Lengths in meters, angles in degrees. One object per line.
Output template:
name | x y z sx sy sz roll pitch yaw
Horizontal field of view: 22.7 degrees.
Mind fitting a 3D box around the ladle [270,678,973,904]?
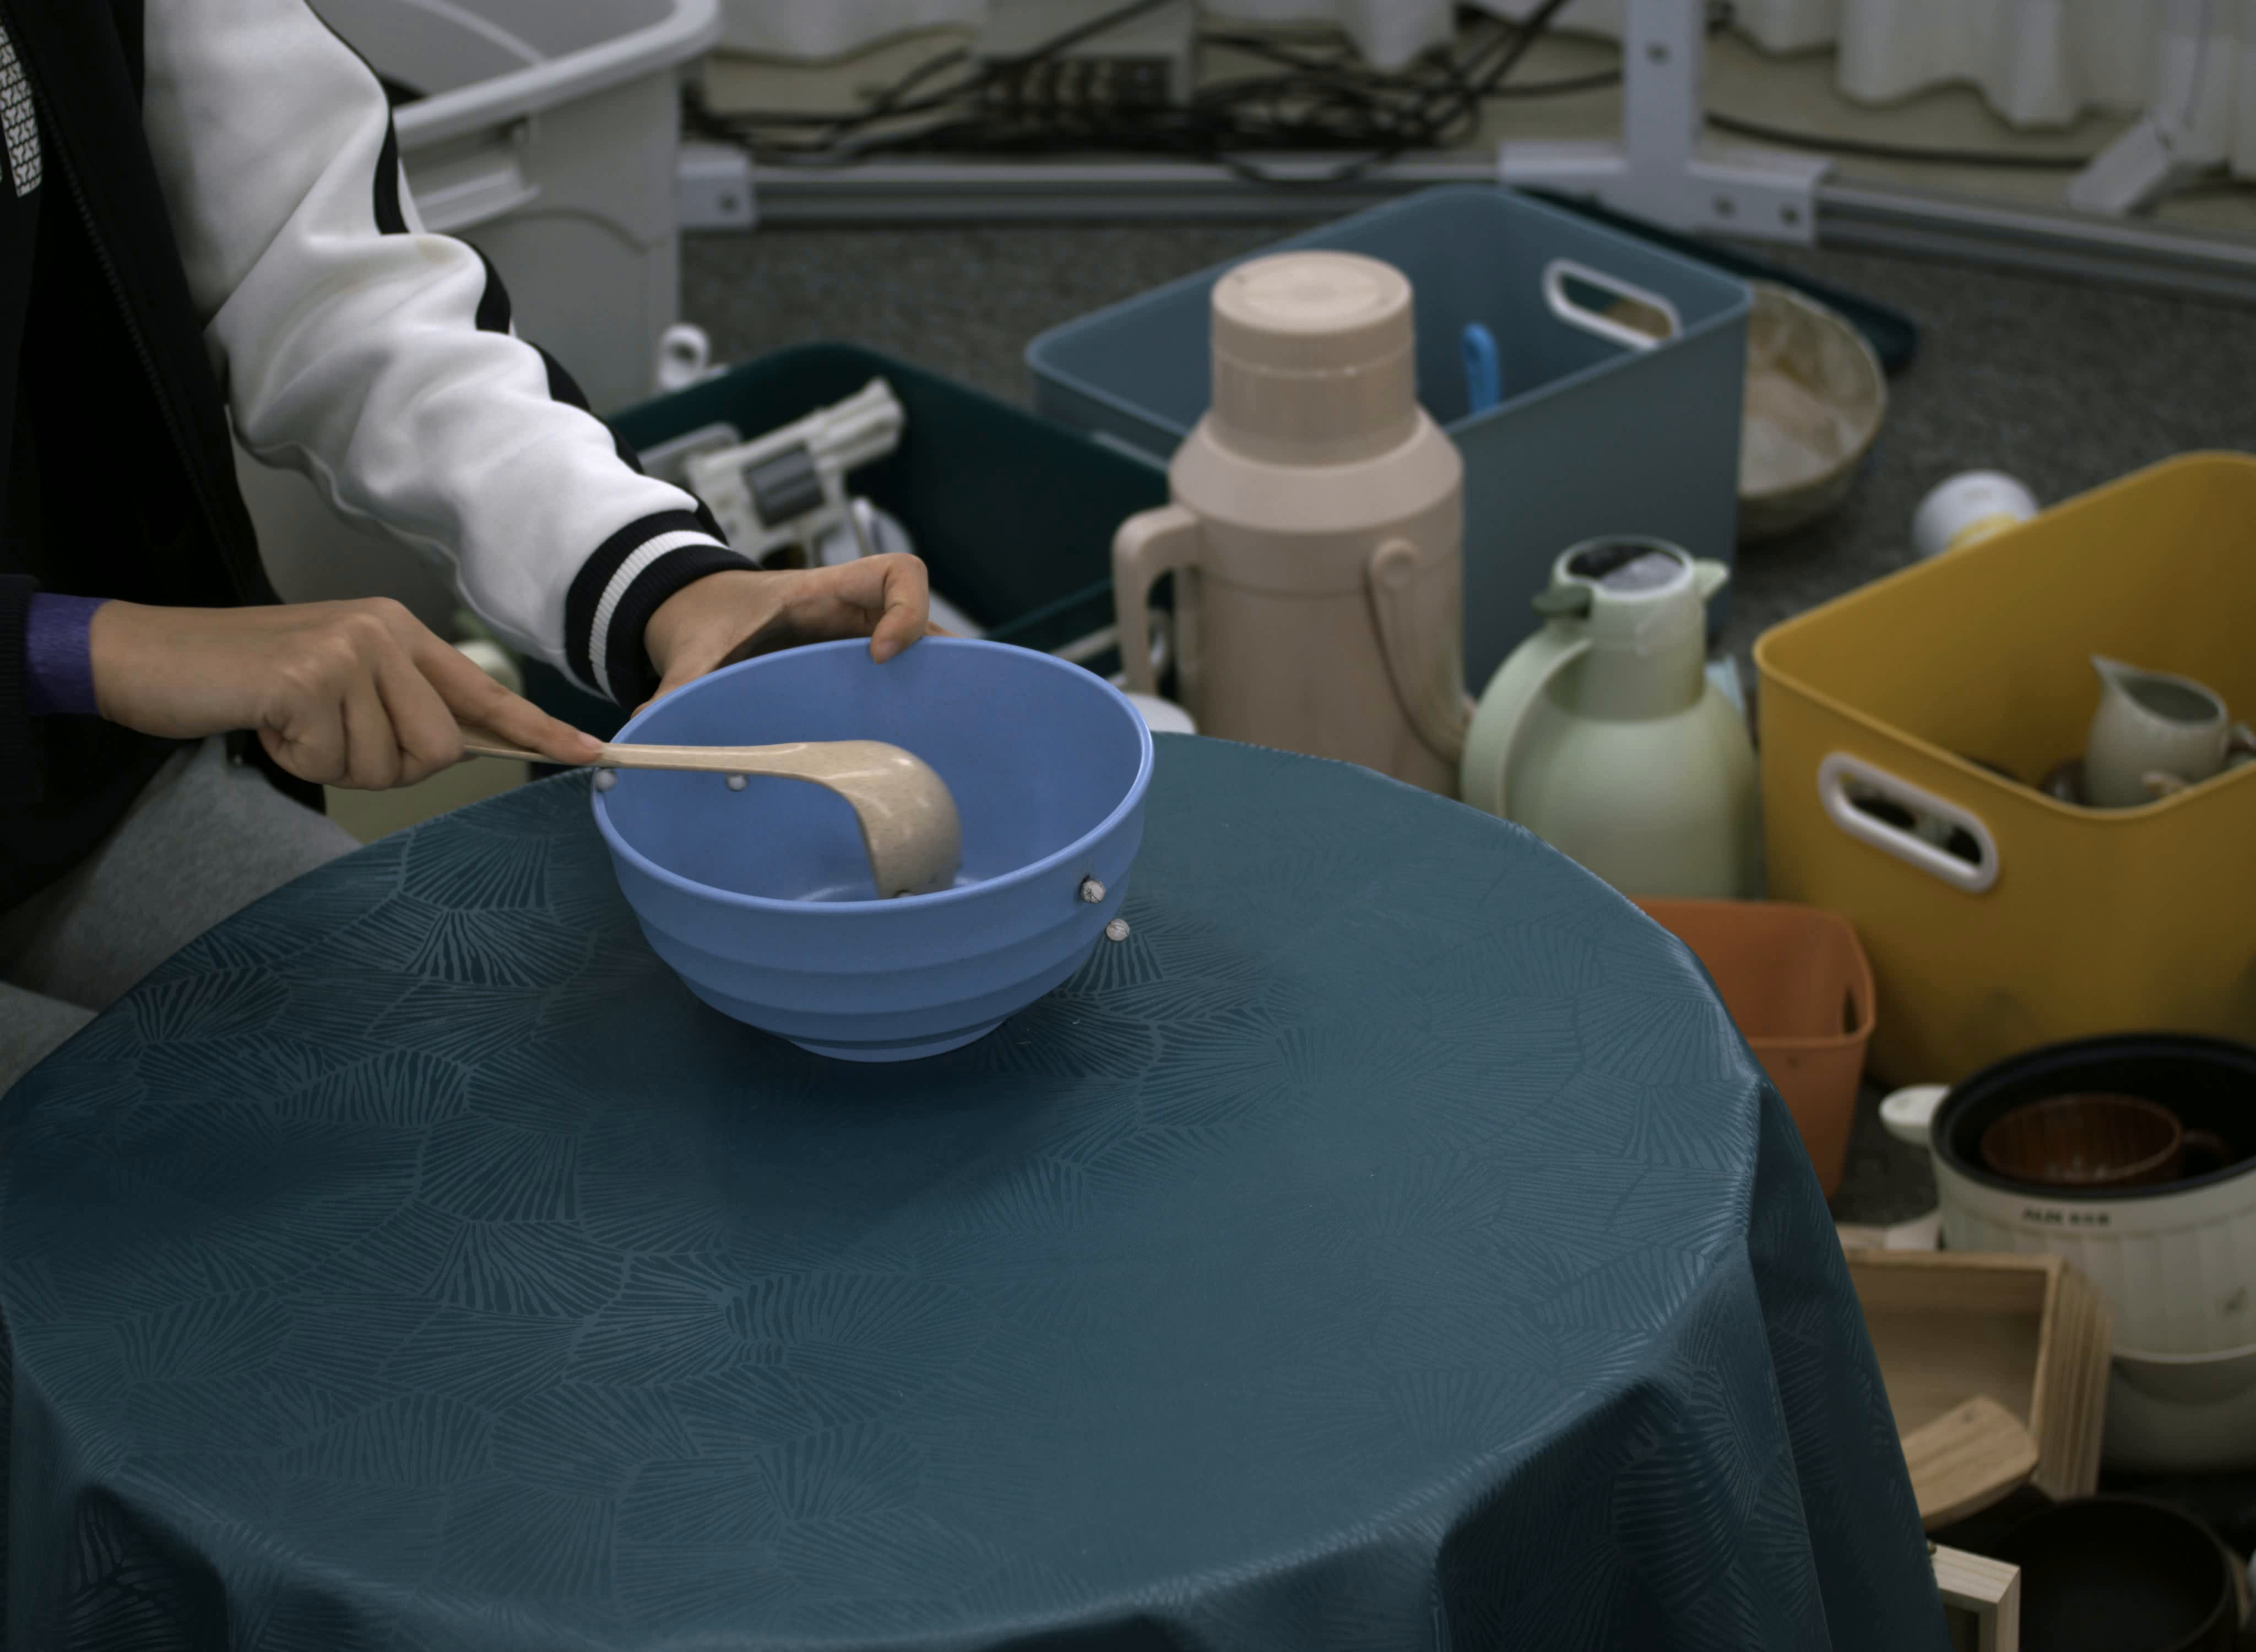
ladle | -0.179 -0.003 1.953 0.254 0.072 0.073 7 34 -19

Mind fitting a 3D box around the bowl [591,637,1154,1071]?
bowl | -0.085 0.022 1.965 0.195 0.094 0.199 -4 29 2
